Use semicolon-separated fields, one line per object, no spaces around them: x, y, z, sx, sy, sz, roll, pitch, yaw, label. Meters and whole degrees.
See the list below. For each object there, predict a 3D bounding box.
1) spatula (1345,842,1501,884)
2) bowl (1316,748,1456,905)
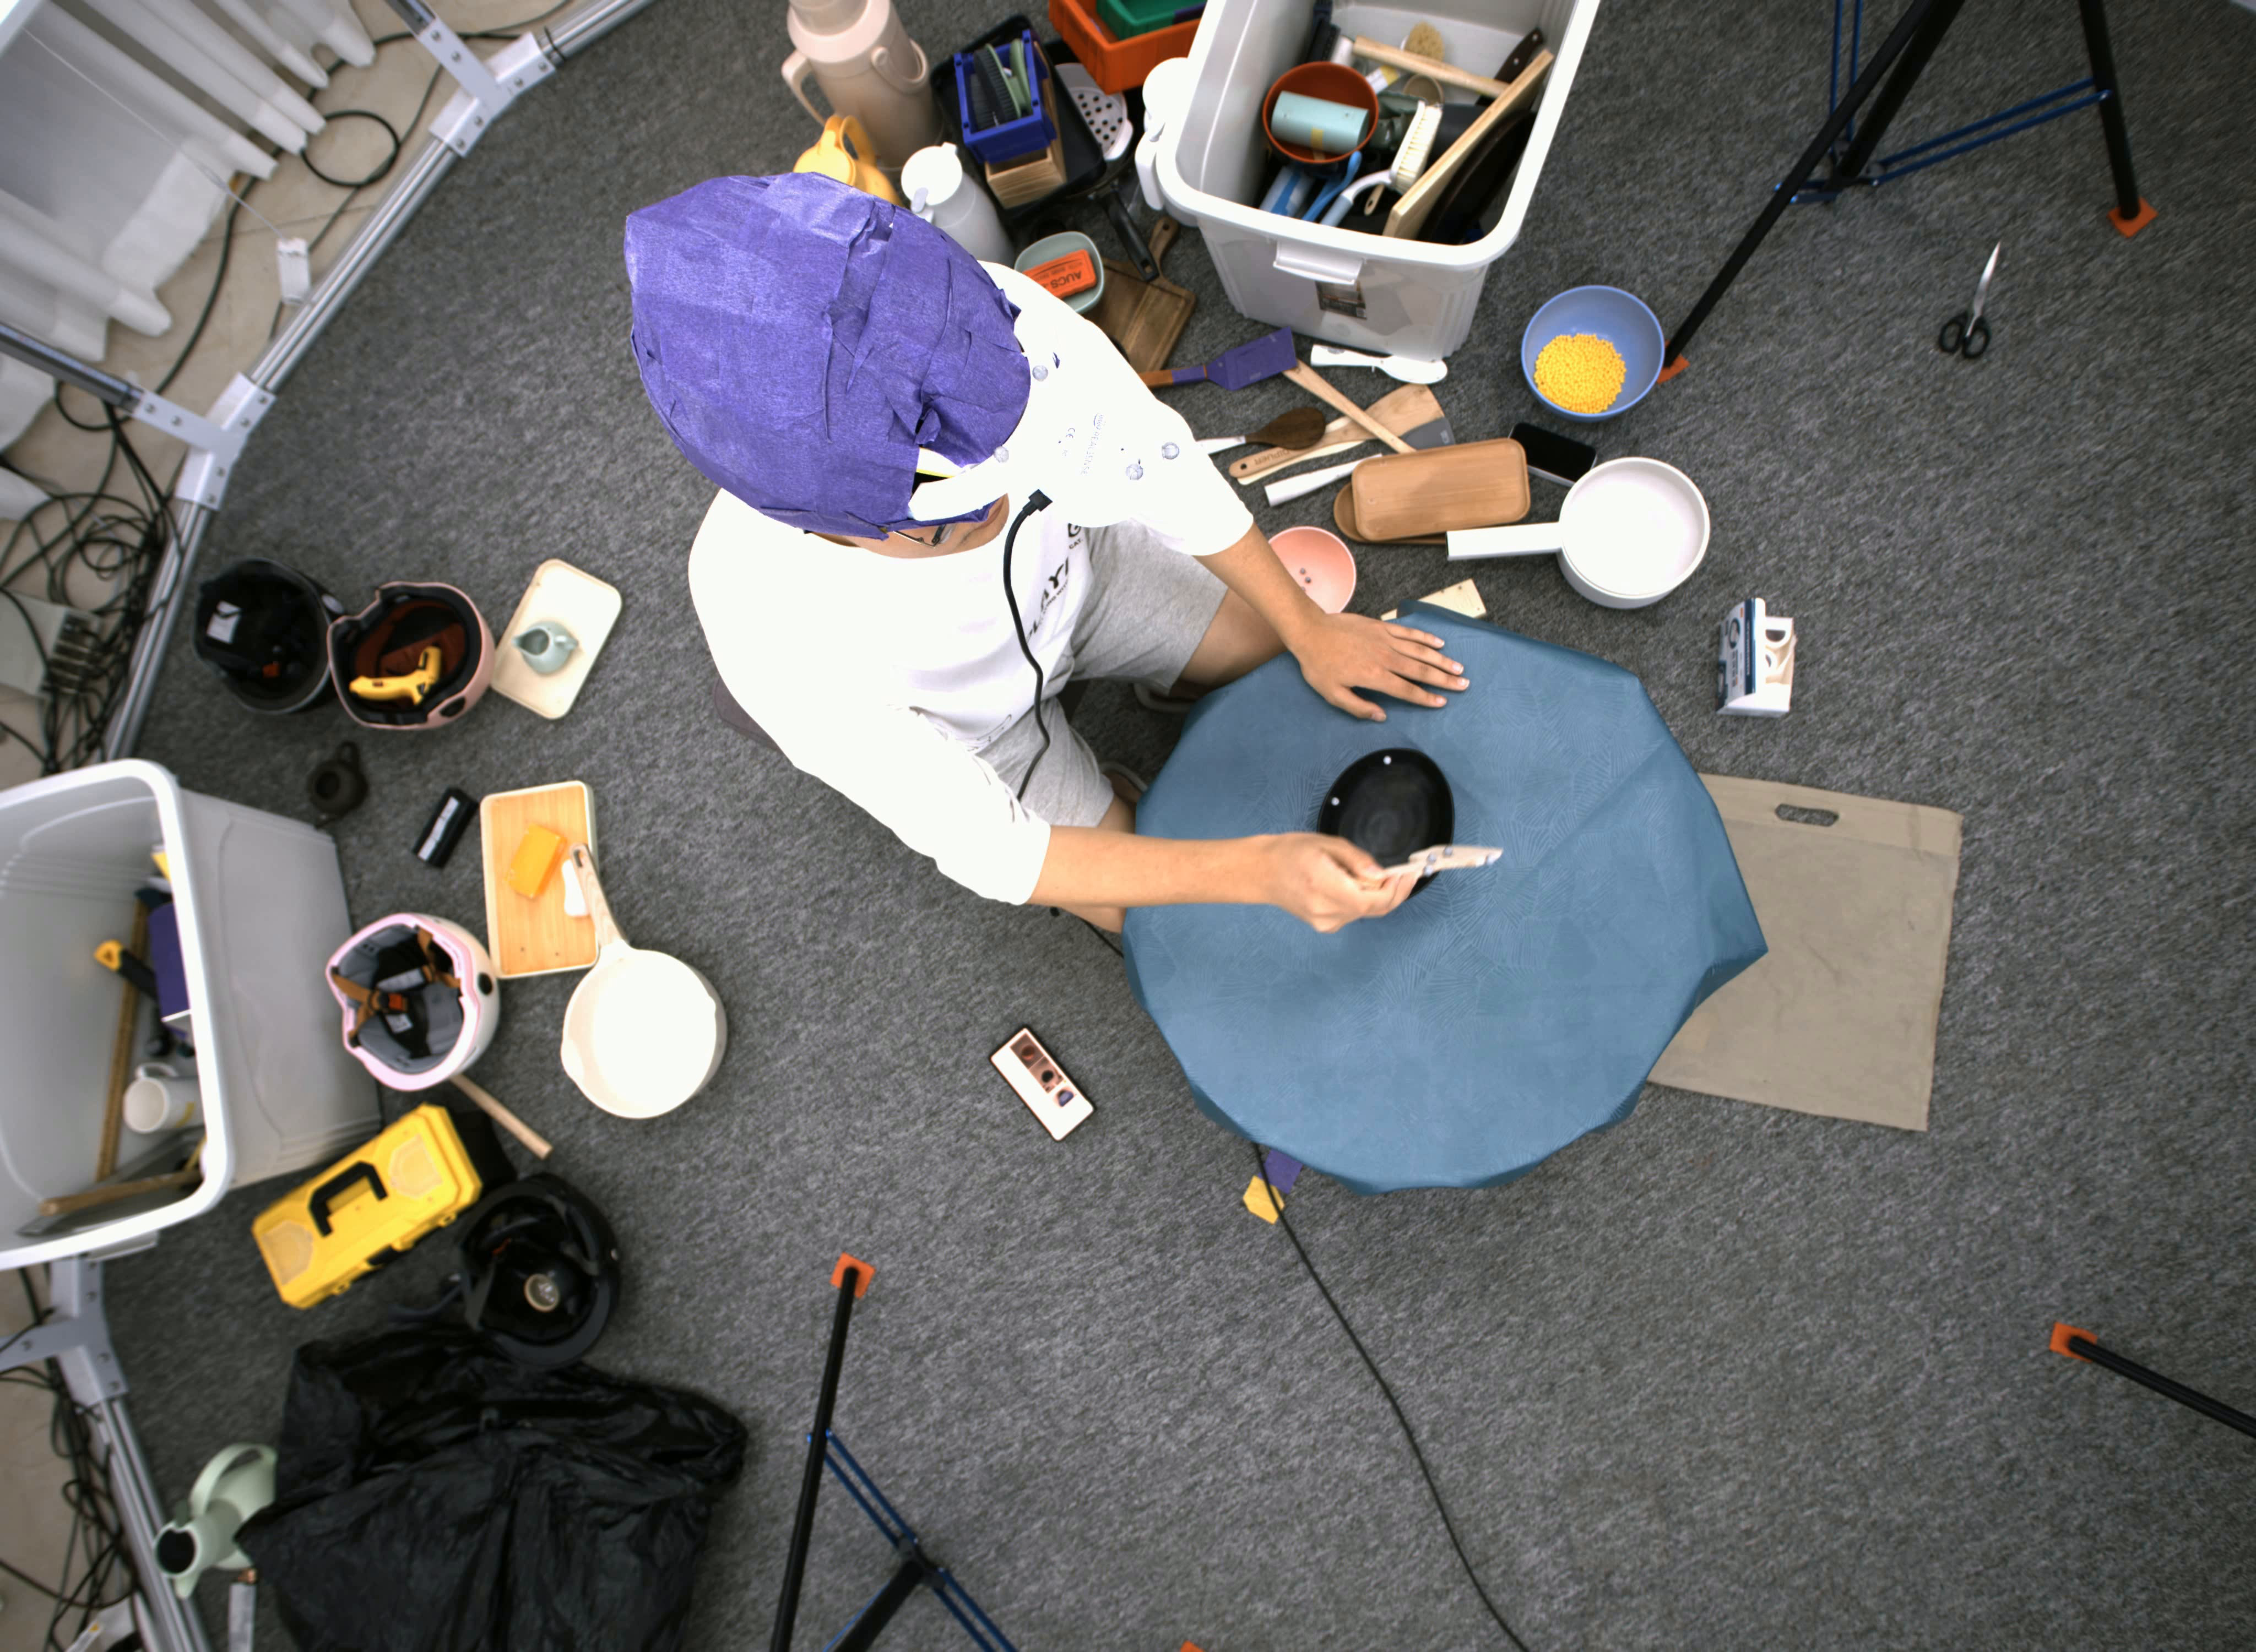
0.258;0.031;1.219;0.073;0.290;0.011;2;96;31;spatula
0.268;0.000;1.432;0.137;0.067;0.170;18;88;12;bowl
